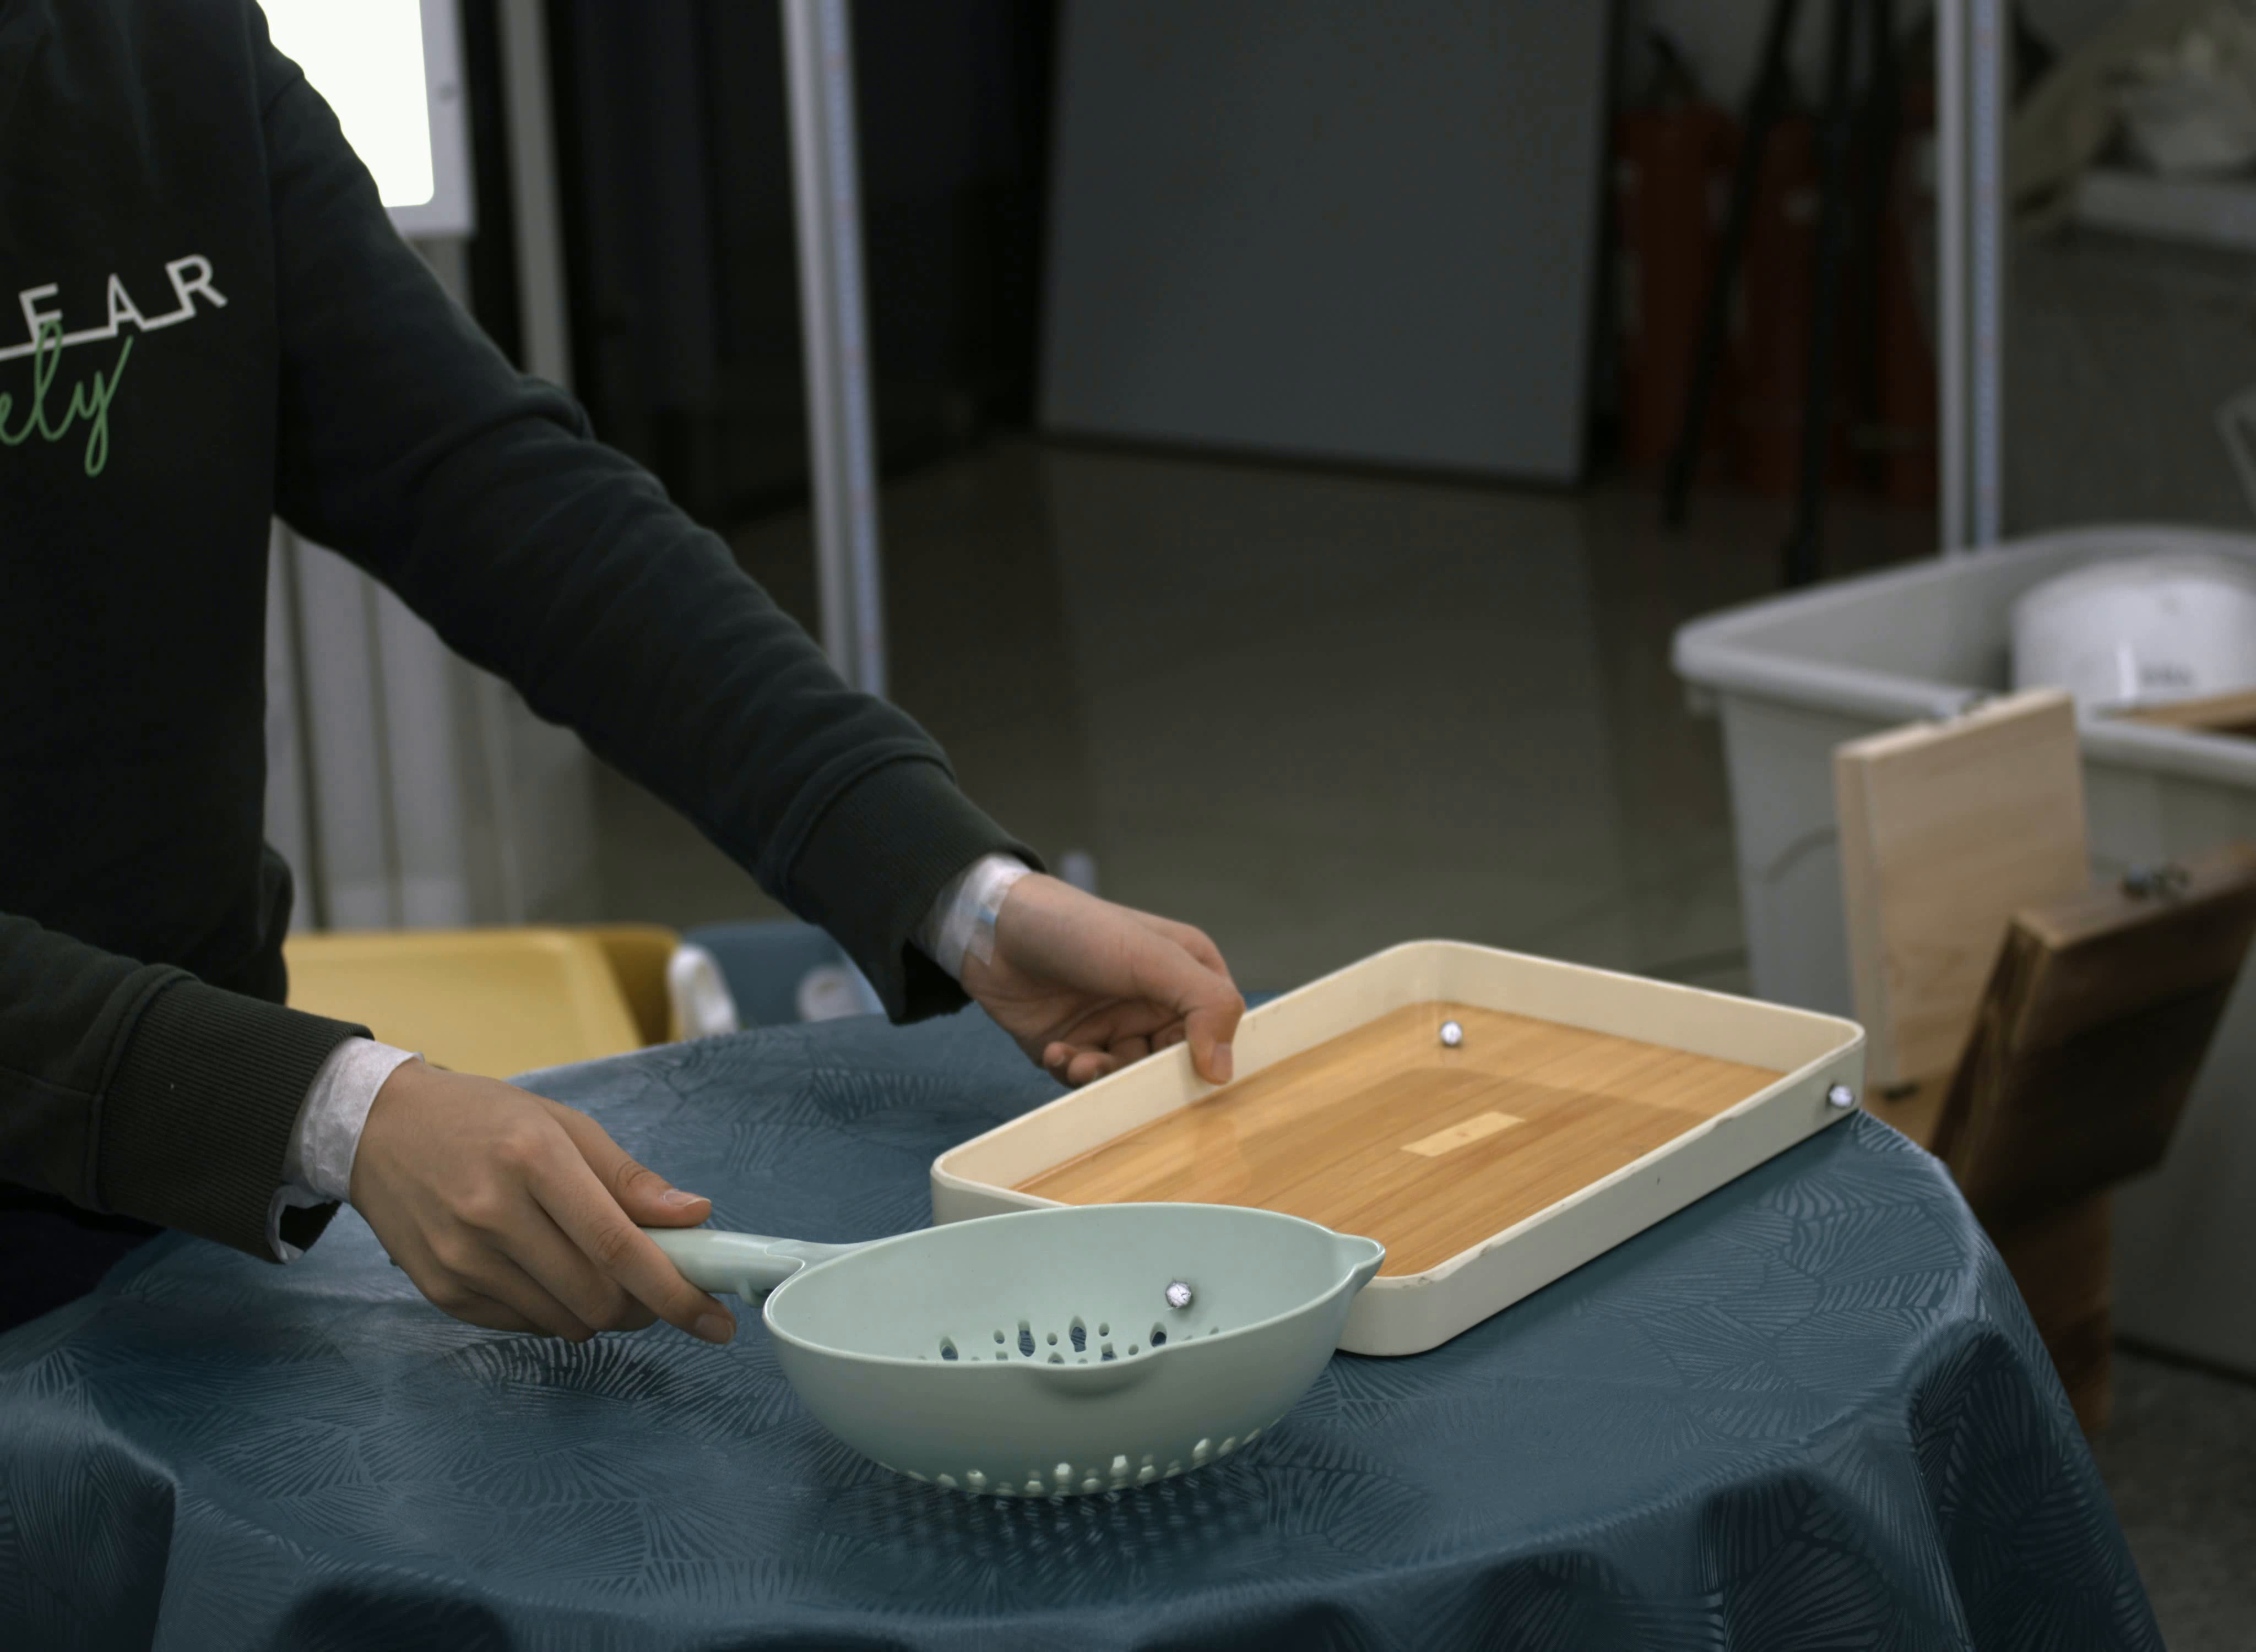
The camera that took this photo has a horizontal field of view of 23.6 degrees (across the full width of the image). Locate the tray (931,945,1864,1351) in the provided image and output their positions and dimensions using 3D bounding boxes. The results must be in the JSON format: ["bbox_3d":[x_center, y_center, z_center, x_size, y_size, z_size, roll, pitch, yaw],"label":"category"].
[{"bbox_3d":[0.093,0.100,1.753,0.193,0.028,0.295,10,19,35],"label":"tray"}]

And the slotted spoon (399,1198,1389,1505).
[{"bbox_3d":[-0.090,0.137,1.579,0.362,0.076,0.166,12,18,39],"label":"slotted spoon"}]
